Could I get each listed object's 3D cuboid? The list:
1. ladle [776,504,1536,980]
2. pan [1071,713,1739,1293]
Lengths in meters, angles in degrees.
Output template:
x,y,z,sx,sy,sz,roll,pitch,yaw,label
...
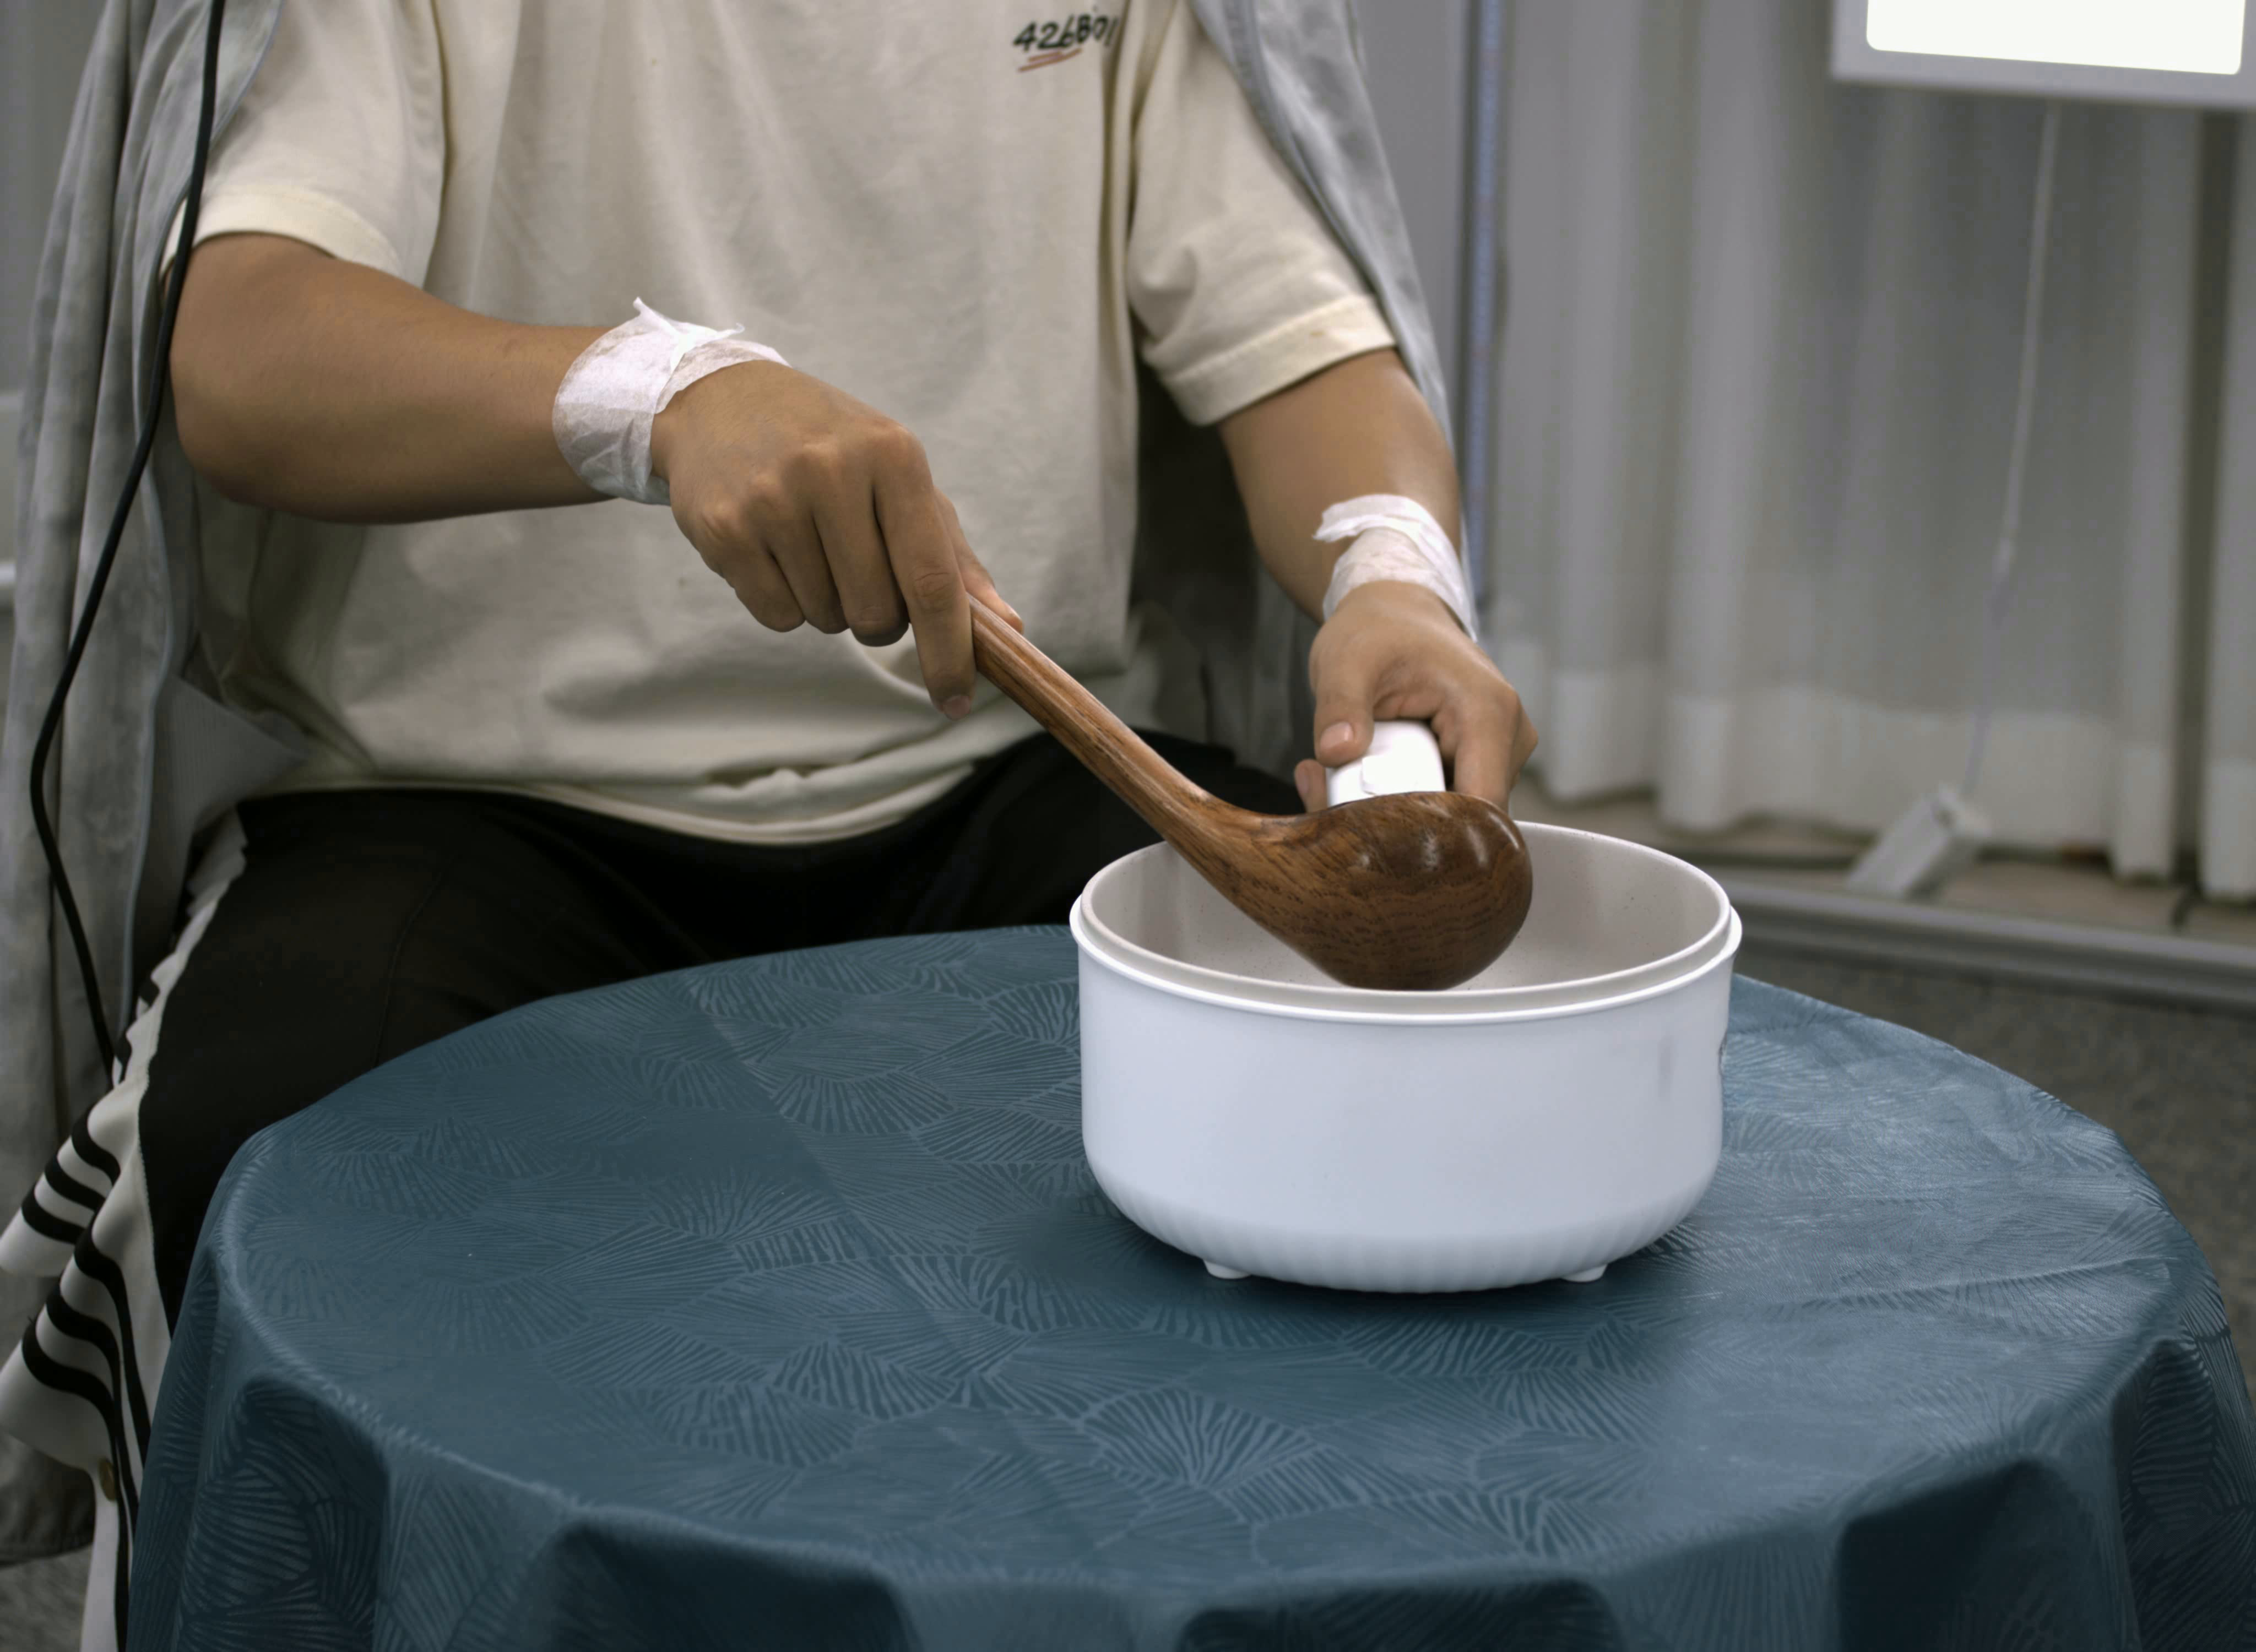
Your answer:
x,y,z,sx,sy,sz,roll,pitch,yaw,label
0.009,-0.038,1.656,0.271,0.082,0.077,37,41,26,ladle
0.085,0.051,1.666,0.200,0.103,0.353,0,15,1,pan
